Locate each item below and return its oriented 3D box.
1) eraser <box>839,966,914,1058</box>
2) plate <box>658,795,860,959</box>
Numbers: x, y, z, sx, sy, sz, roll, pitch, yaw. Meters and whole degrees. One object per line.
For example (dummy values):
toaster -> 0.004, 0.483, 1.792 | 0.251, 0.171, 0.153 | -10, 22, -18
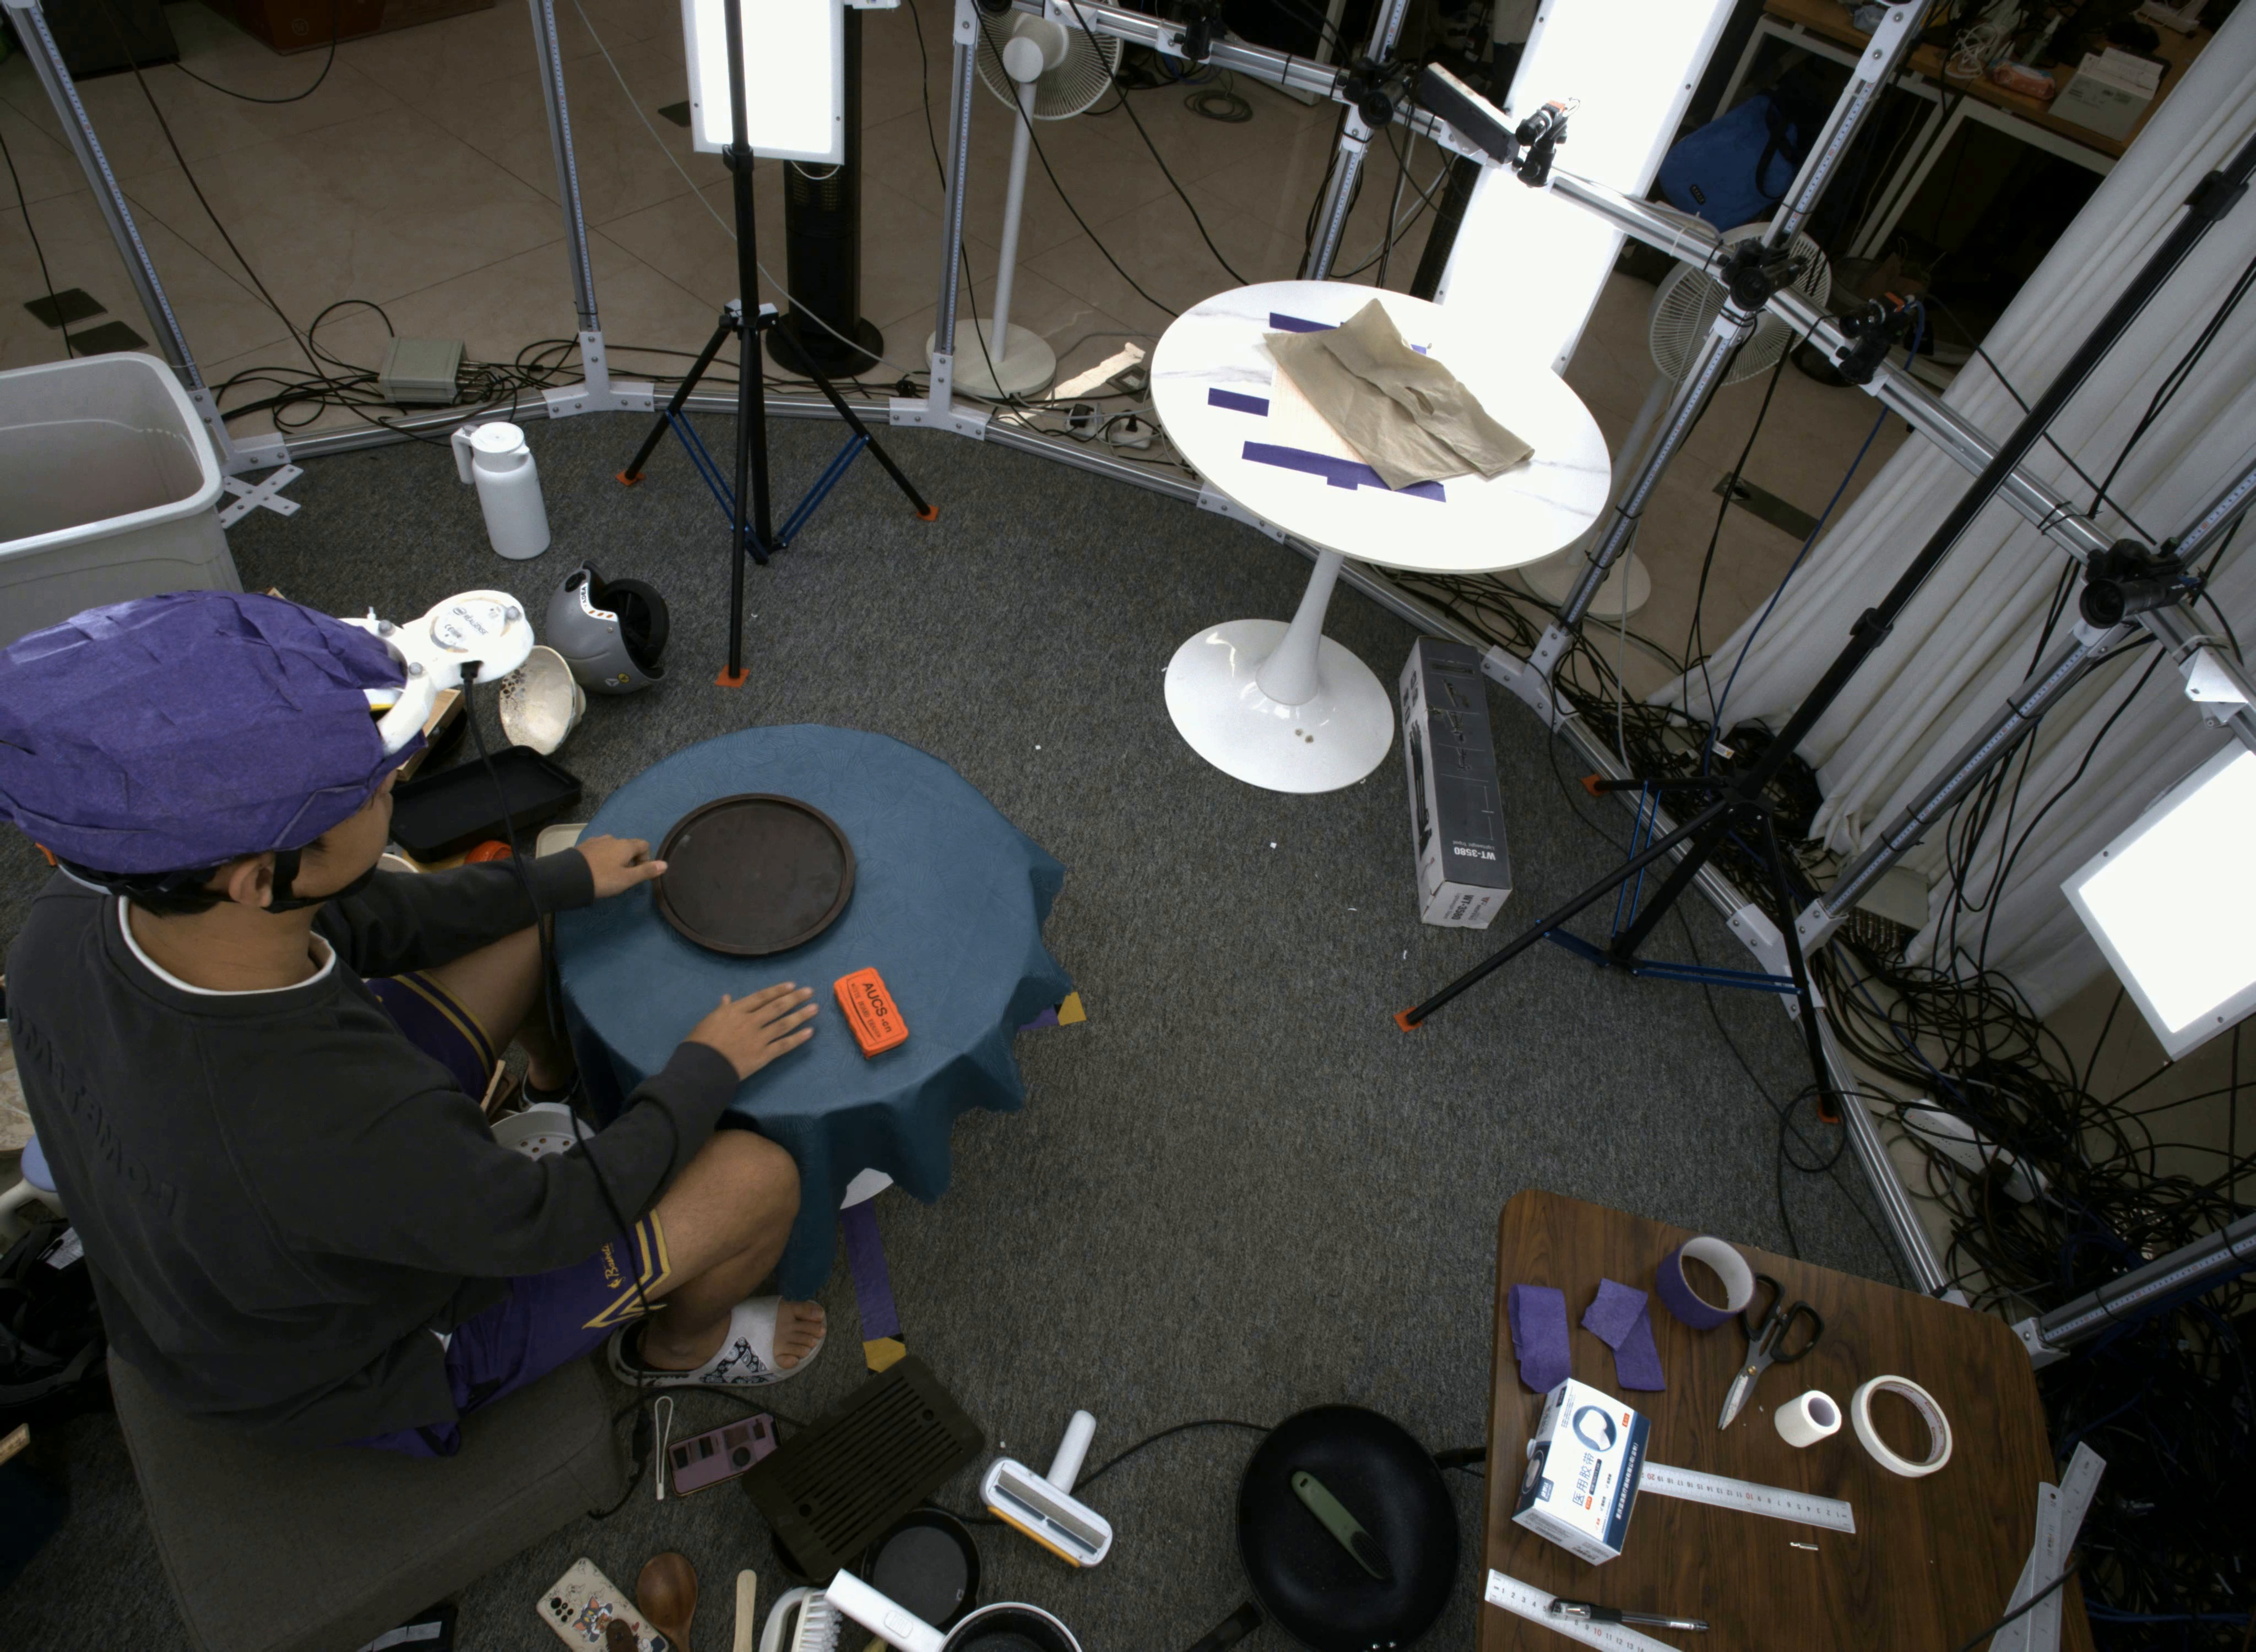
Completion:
eraser -> -0.305, 0.222, 1.574 | 0.059, 0.023, 0.105 | -21, 62, -26
plate -> -0.471, 0.062, 1.657 | 0.254, 0.029, 0.250 | 9, 53, -10
